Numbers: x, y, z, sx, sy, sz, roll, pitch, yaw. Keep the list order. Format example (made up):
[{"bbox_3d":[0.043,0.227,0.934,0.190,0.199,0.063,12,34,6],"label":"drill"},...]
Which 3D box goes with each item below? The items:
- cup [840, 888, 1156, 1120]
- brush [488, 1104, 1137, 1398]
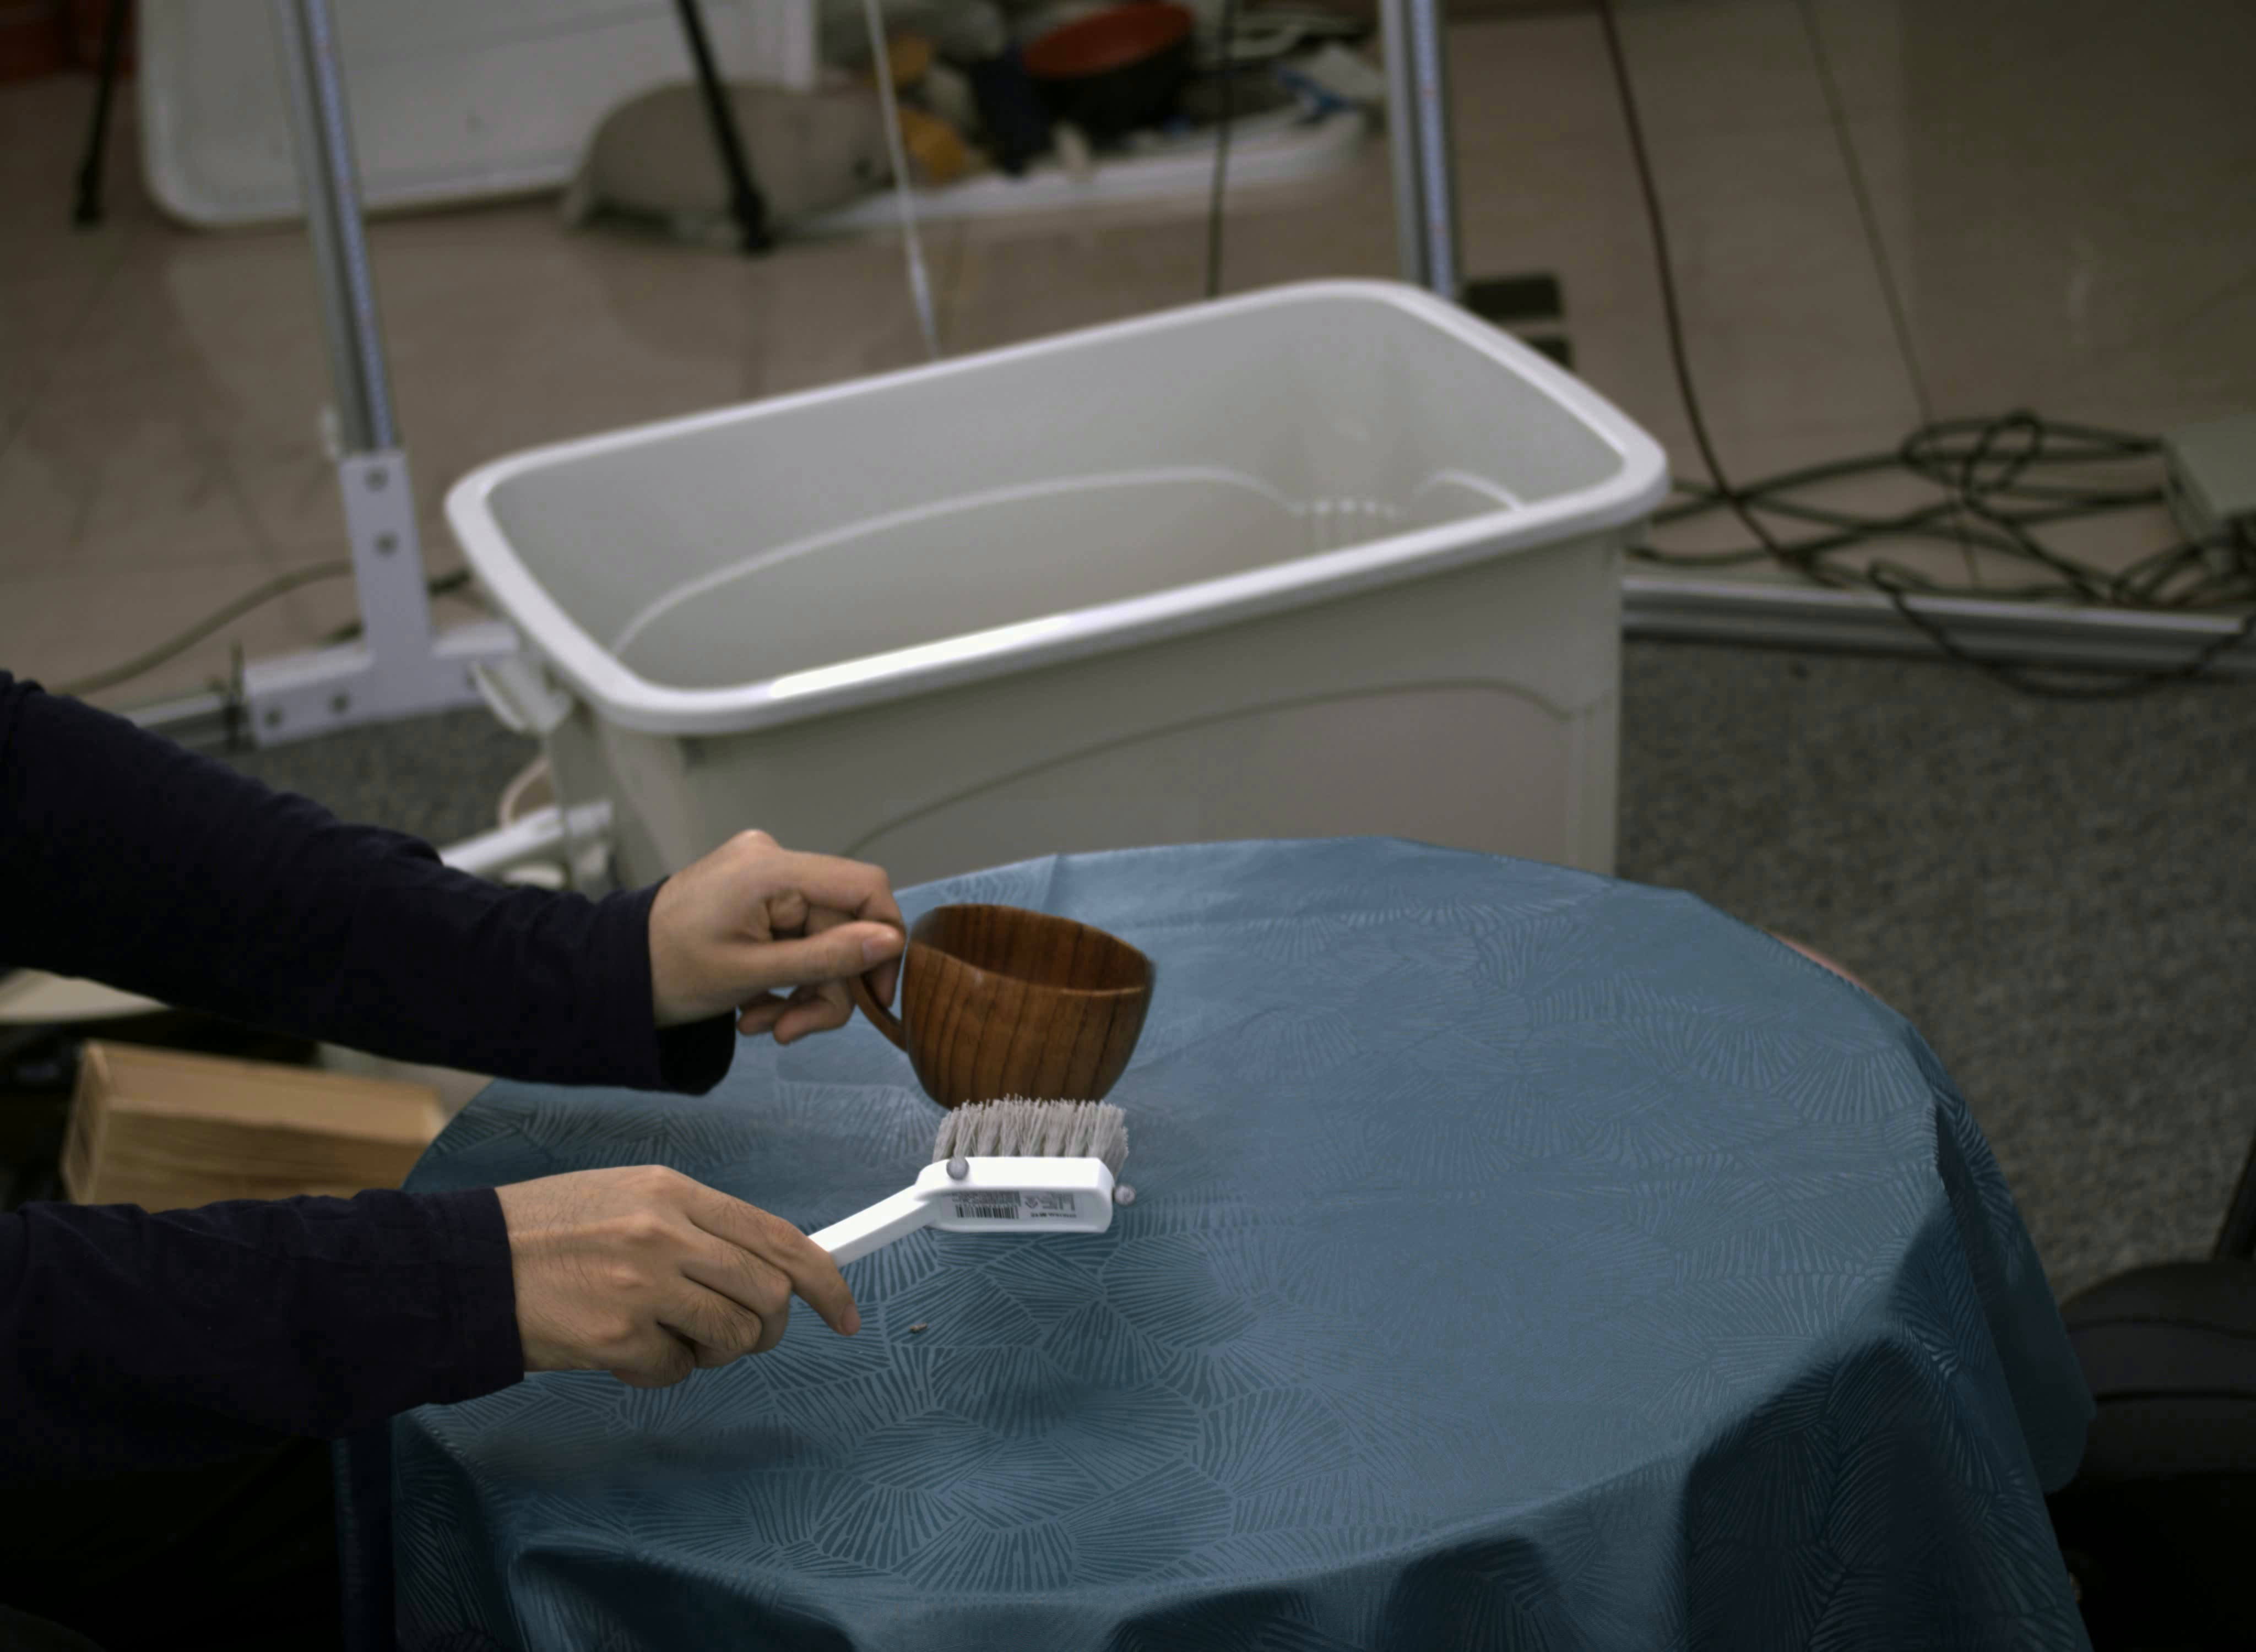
[{"bbox_3d":[-0.055,0.068,2.169,0.119,0.068,0.095,17,17,1],"label":"cup"},{"bbox_3d":[-0.113,0.147,2.013,0.243,0.035,0.049,-17,58,2],"label":"brush"}]
